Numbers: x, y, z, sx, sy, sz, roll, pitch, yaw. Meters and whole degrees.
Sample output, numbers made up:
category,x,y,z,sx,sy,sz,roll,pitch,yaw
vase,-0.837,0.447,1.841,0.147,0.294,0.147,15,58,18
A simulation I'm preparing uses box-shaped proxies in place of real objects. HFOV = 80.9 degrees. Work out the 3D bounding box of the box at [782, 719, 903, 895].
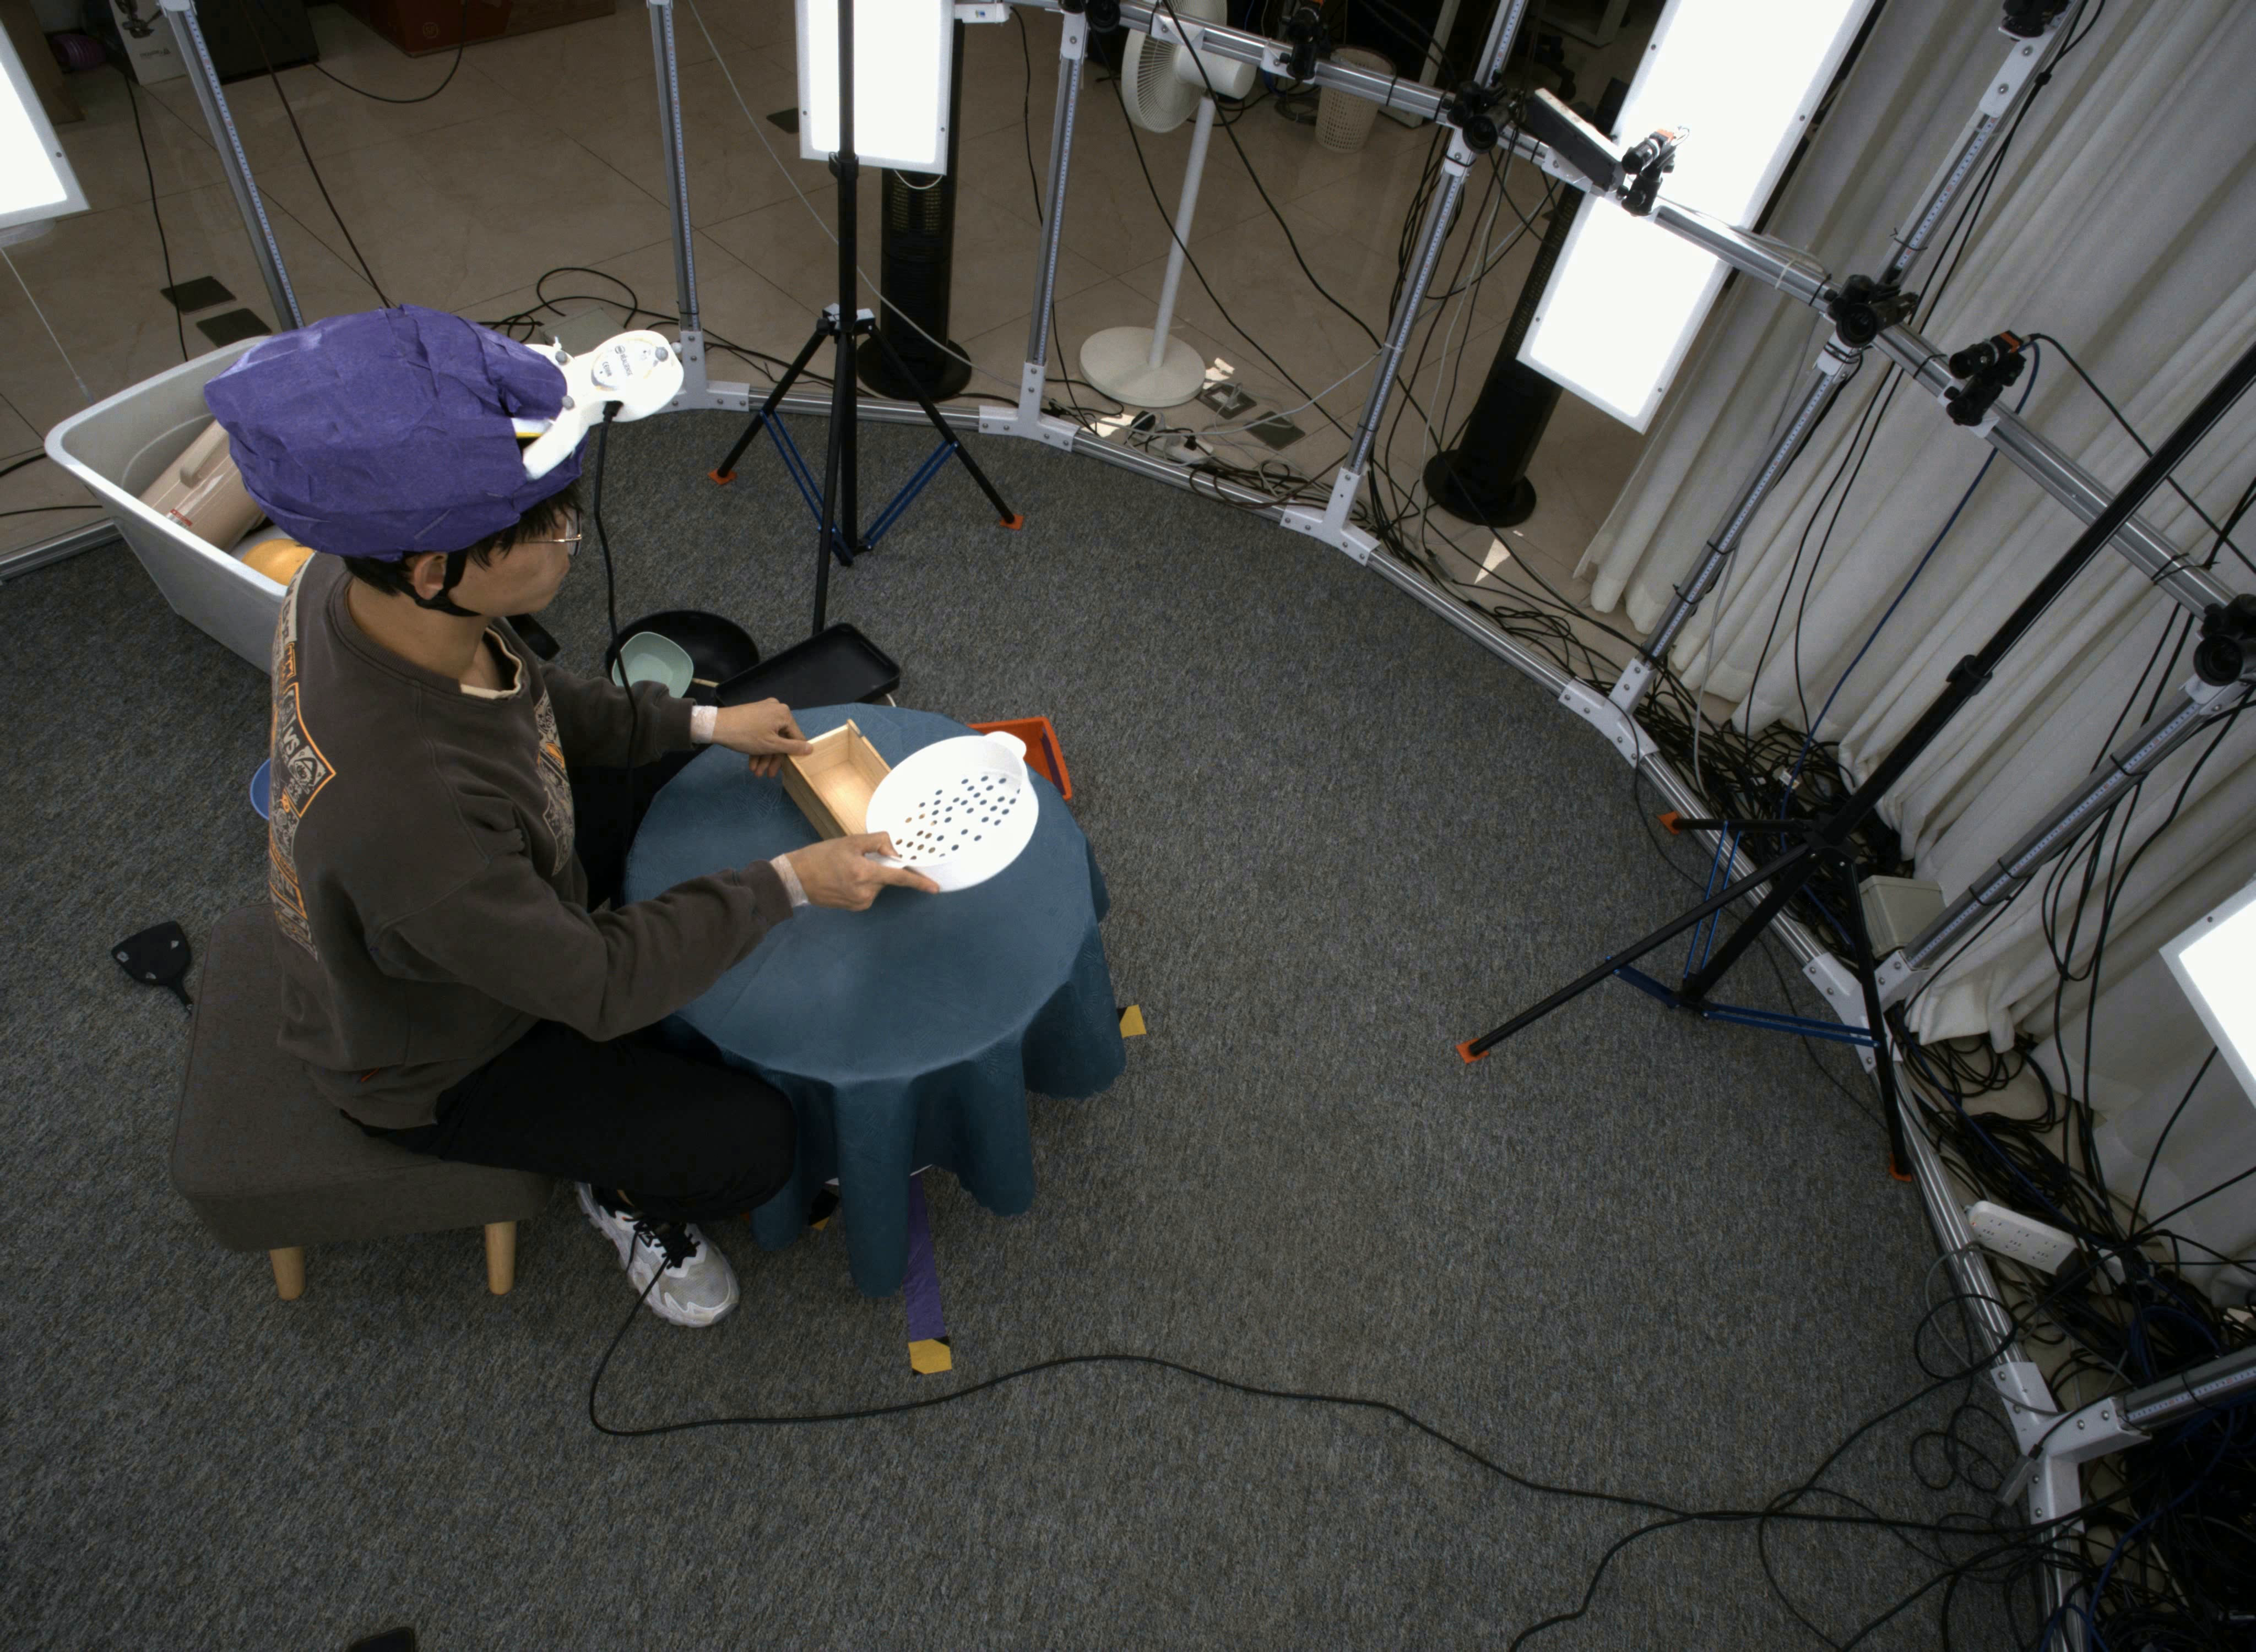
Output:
category,x,y,z,sx,sy,sz,roll,pitch,yaw
box,-0.357,-0.027,1.724,0.108,0.082,0.206,-30,66,-28

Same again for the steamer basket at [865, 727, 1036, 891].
category,x,y,z,sx,sy,sz,roll,pitch,yaw
steamer basket,-0.205,-0.016,1.538,0.194,0.072,0.230,29,66,37
